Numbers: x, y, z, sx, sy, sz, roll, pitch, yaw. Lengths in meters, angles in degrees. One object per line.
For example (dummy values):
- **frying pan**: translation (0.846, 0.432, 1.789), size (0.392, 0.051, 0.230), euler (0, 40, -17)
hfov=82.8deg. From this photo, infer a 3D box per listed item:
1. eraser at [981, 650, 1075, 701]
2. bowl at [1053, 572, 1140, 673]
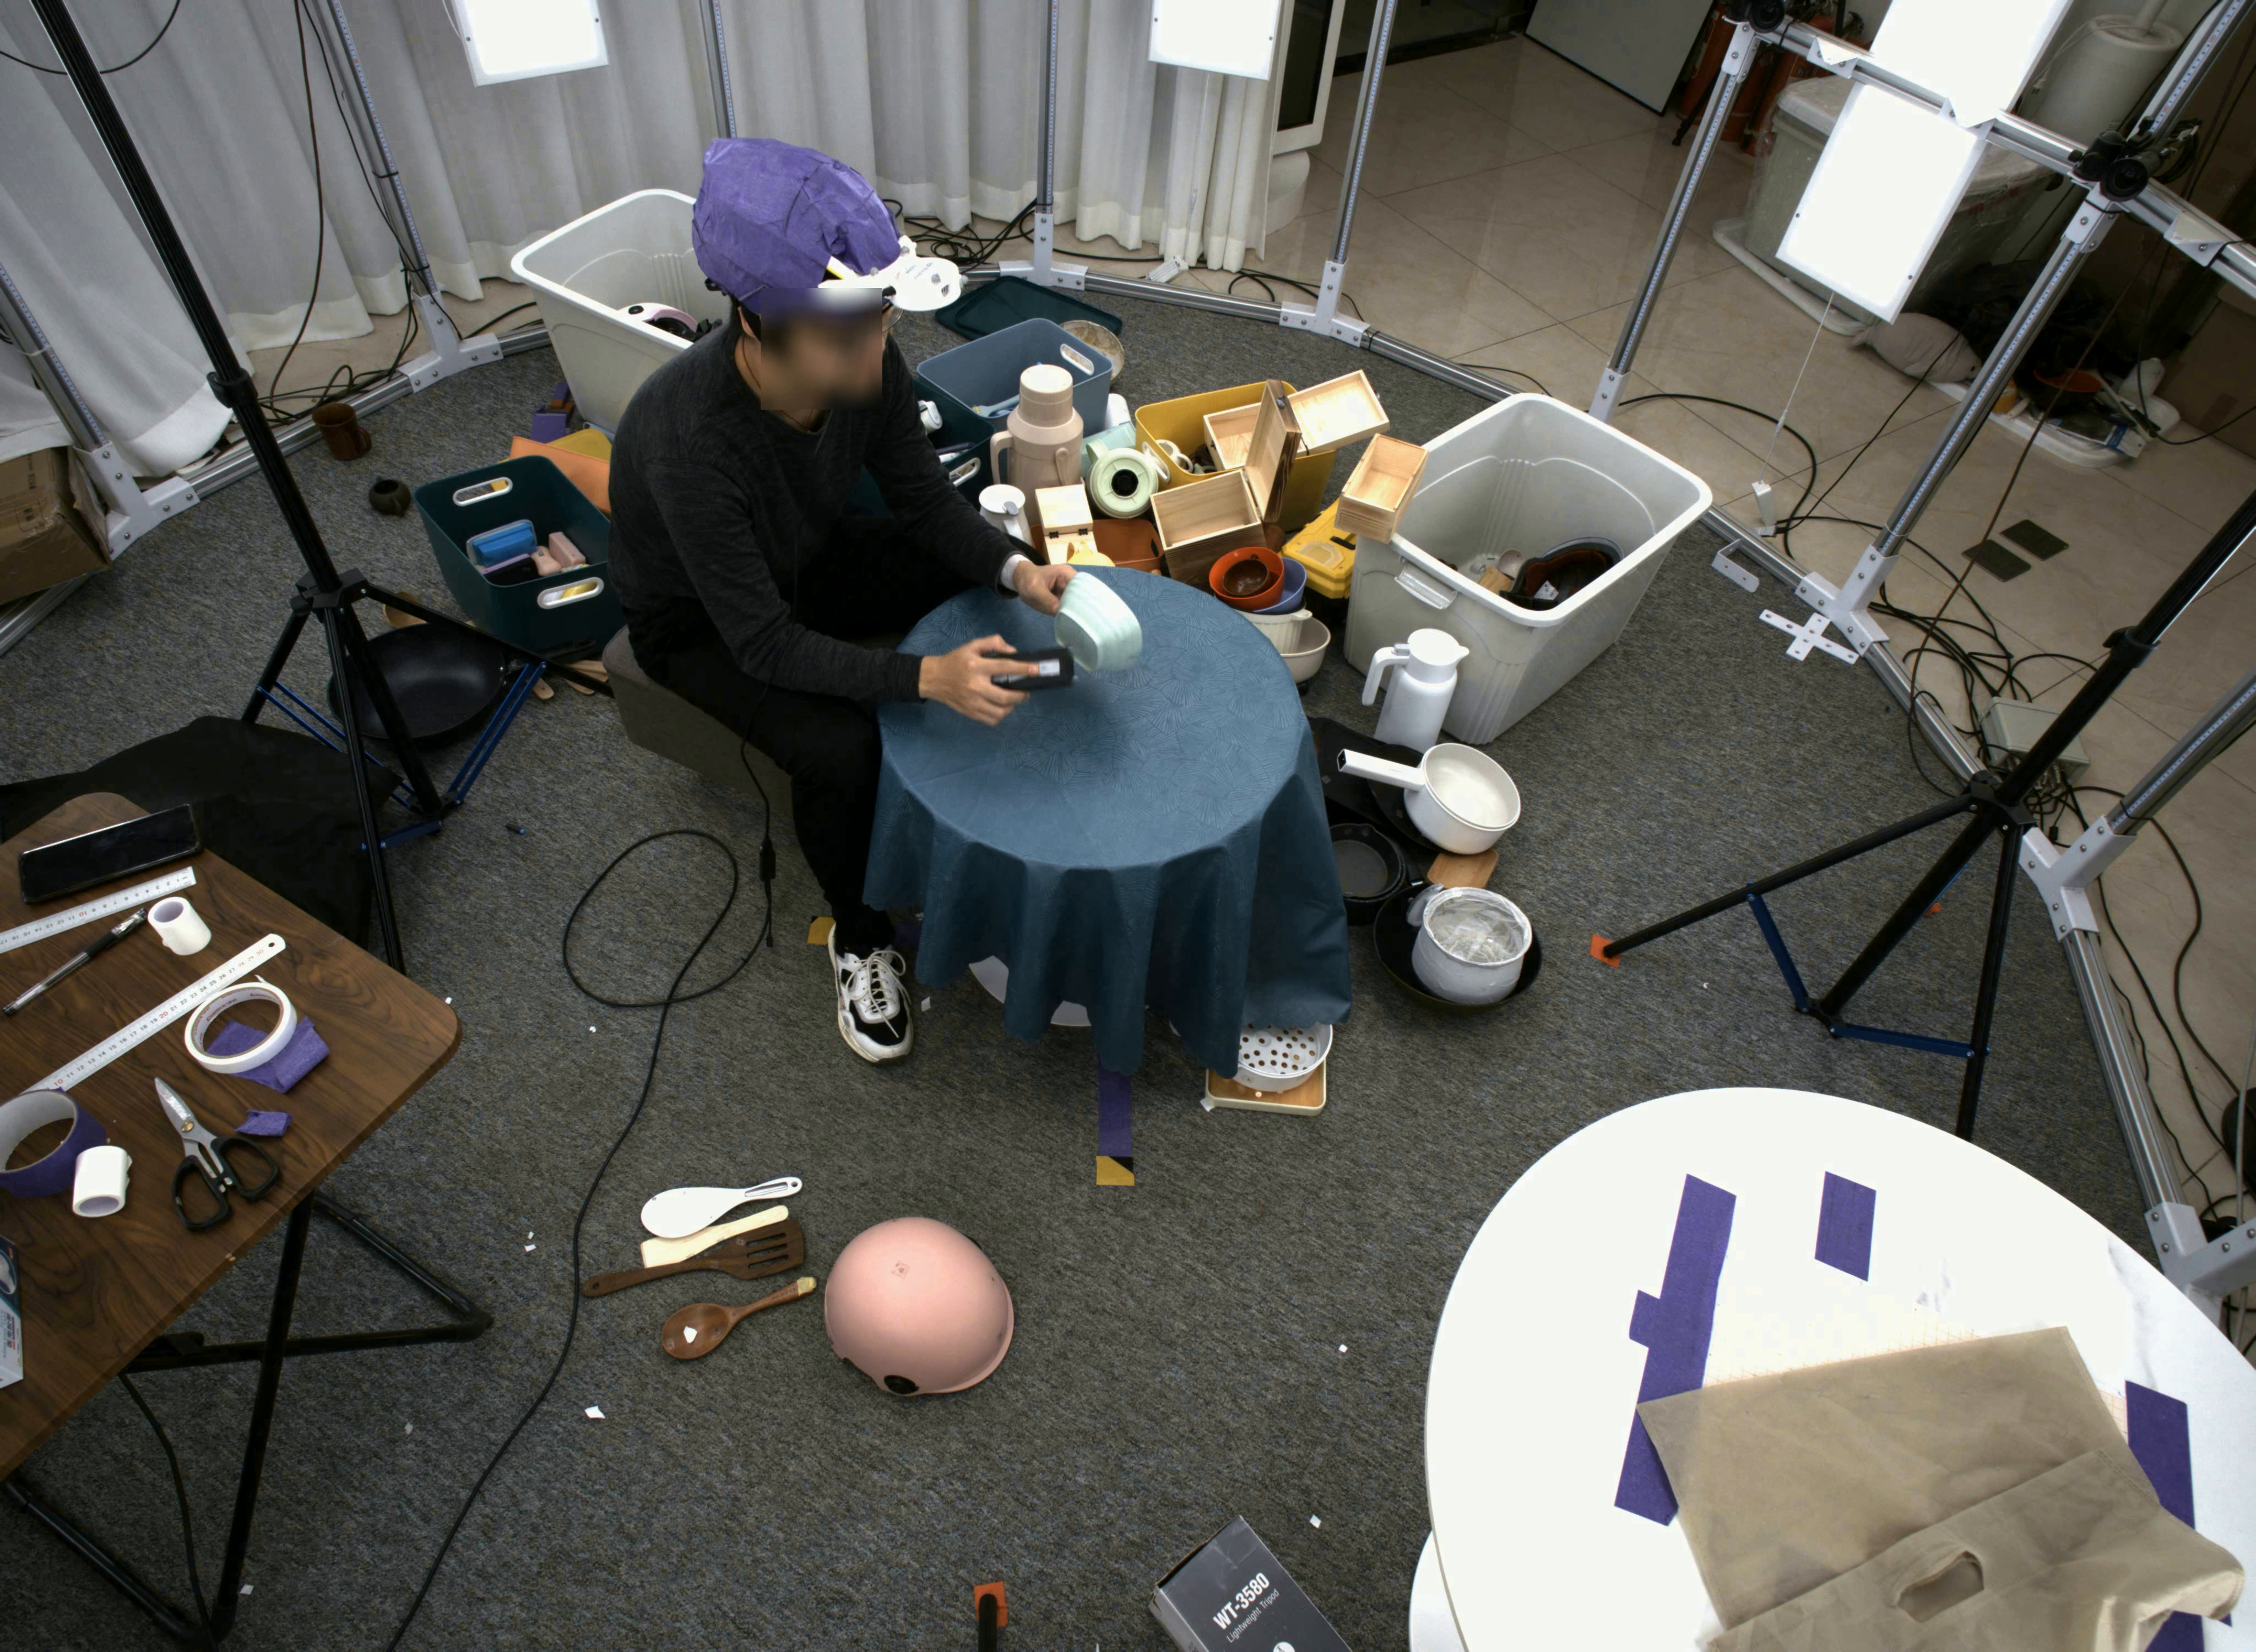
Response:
- **eraser**: translation (-0.131, -0.198, 1.687), size (0.125, 0.030, 0.053), euler (-5, 88, 20)
- **bowl**: translation (-0.052, -0.264, 1.743), size (0.059, 0.148, 0.154), euler (-38, 62, -22)
